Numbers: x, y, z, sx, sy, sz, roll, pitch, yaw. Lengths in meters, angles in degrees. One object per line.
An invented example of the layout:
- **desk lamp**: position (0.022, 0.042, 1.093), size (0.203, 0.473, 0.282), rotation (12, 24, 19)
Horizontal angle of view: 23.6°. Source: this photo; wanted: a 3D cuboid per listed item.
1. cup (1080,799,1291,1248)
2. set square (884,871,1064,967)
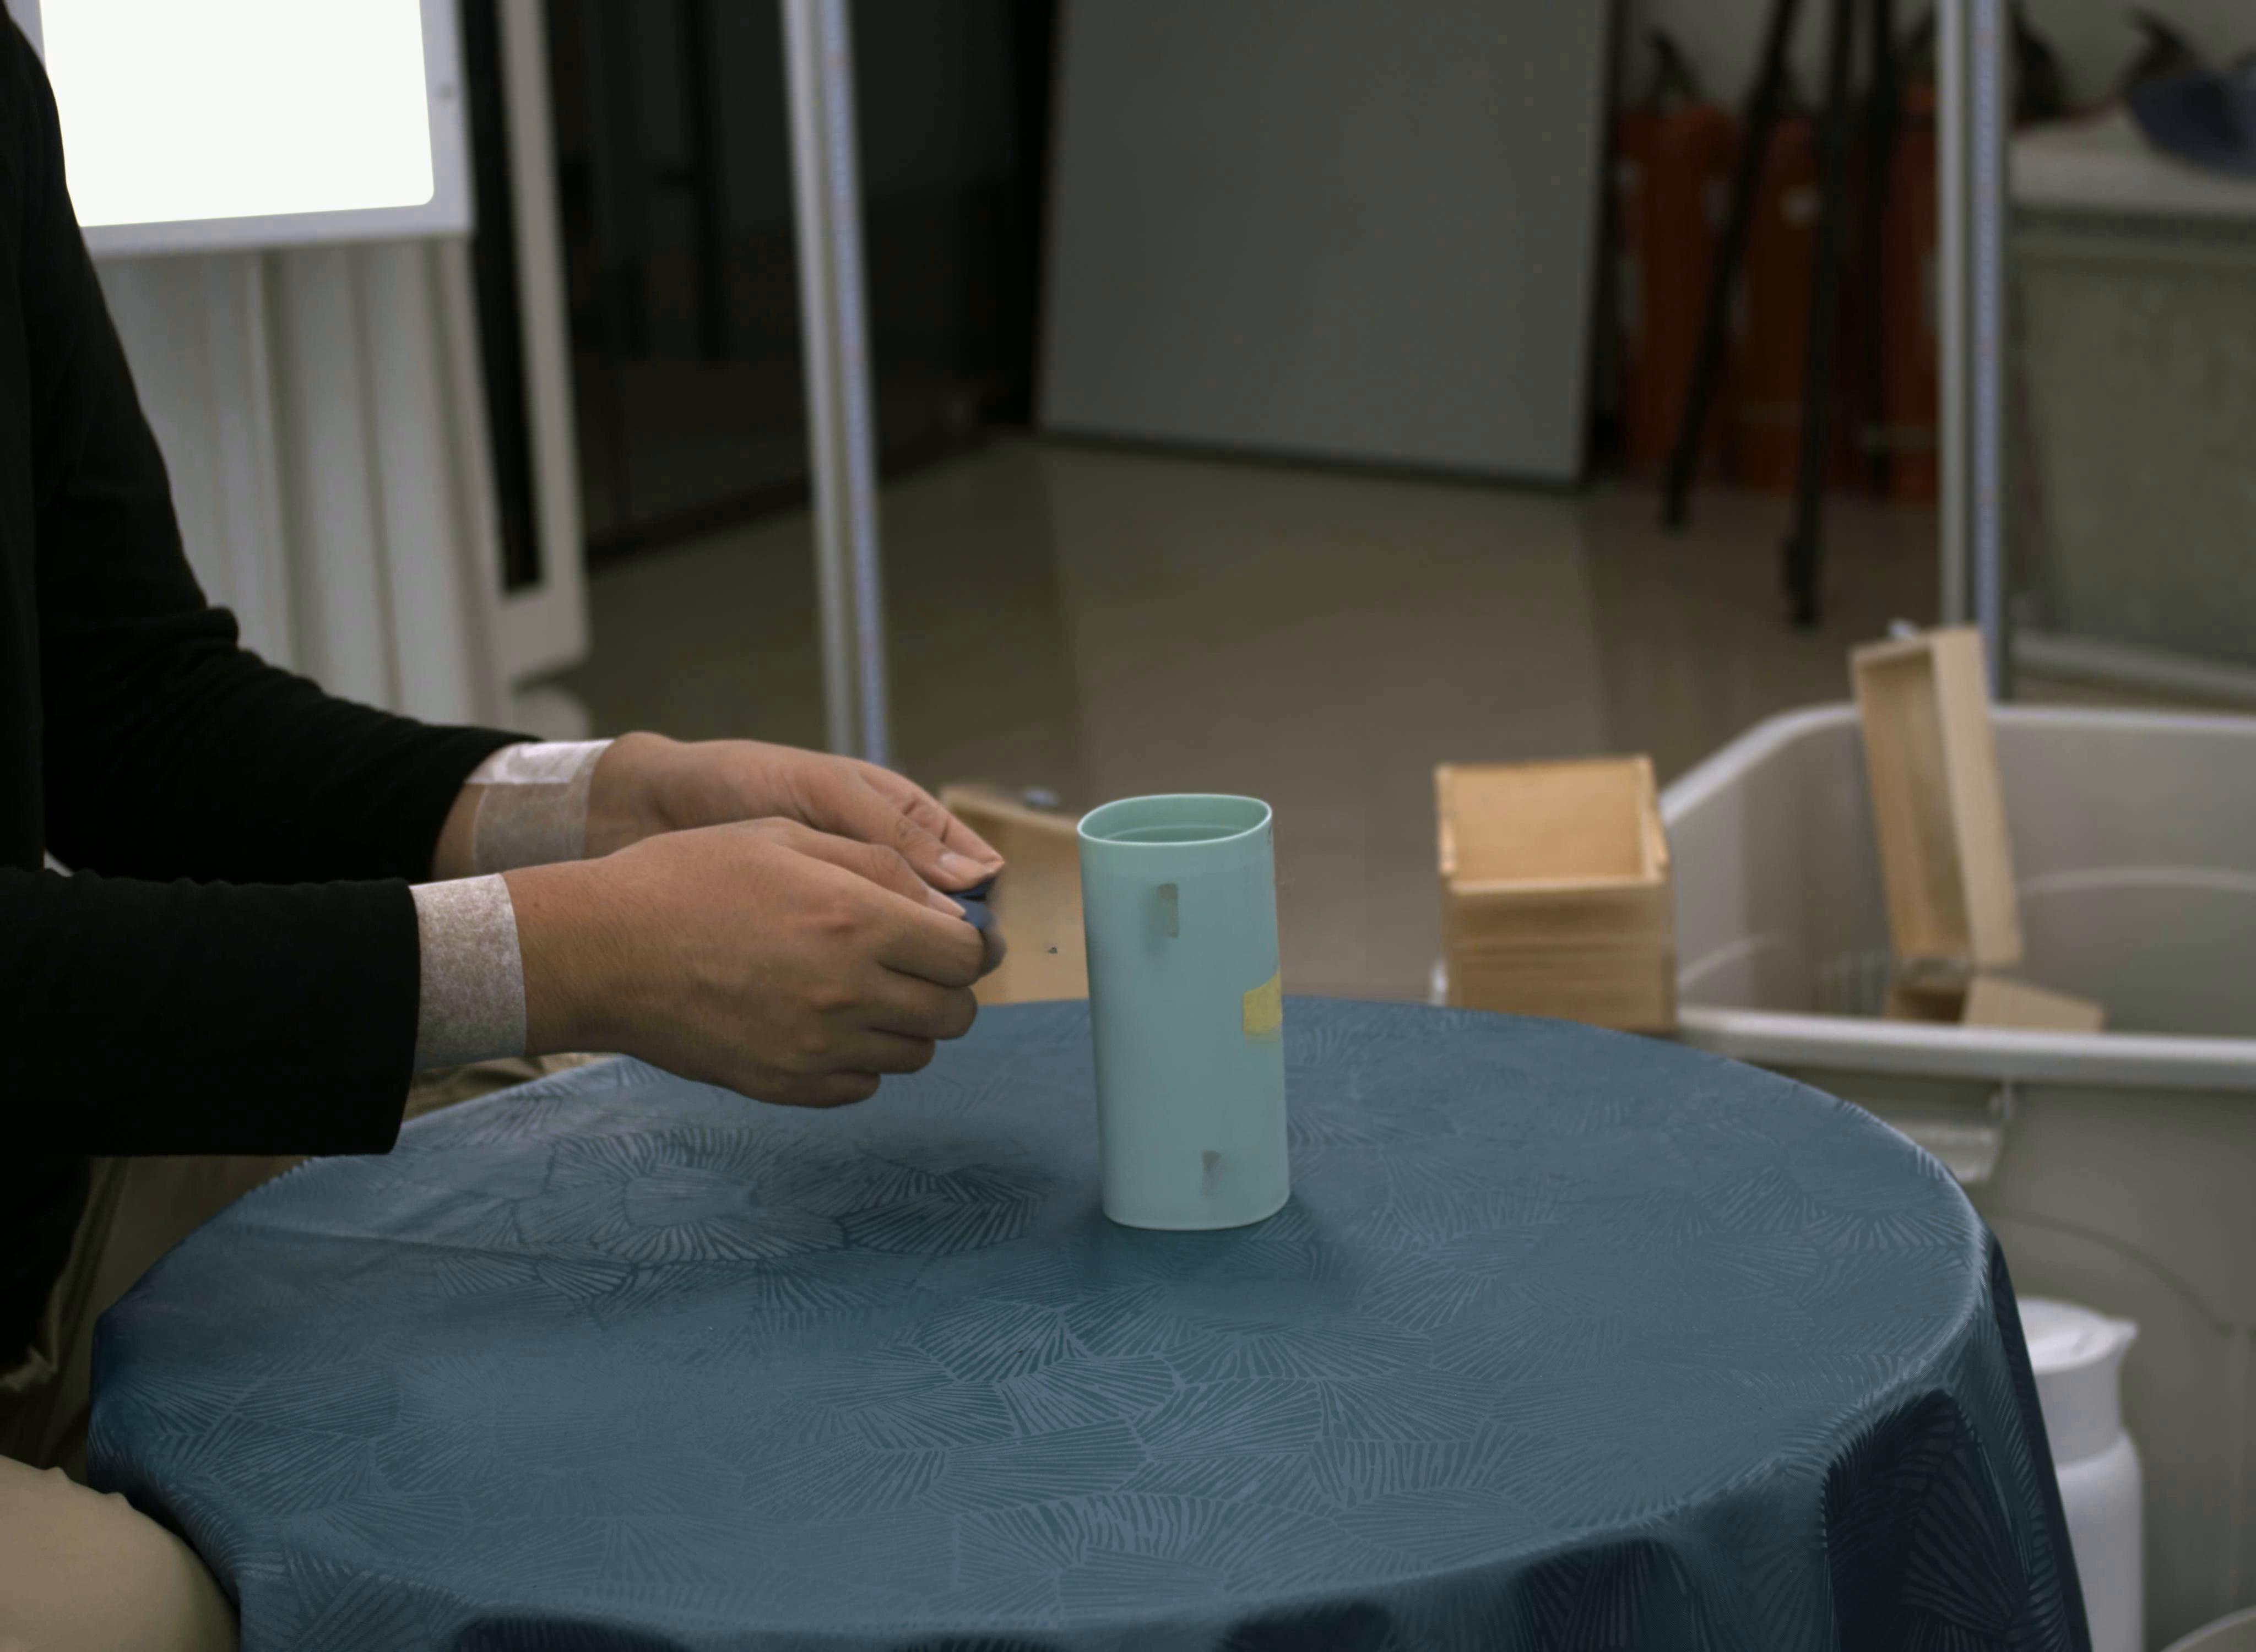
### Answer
- **cup**: position (0.018, 0.063, 1.740), size (0.066, 0.134, 0.067), rotation (-3, 14, 0)
- **set square**: position (-0.055, 0.031, 1.752), size (0.060, 0.006, 0.131), rotation (-5, 12, 8)
